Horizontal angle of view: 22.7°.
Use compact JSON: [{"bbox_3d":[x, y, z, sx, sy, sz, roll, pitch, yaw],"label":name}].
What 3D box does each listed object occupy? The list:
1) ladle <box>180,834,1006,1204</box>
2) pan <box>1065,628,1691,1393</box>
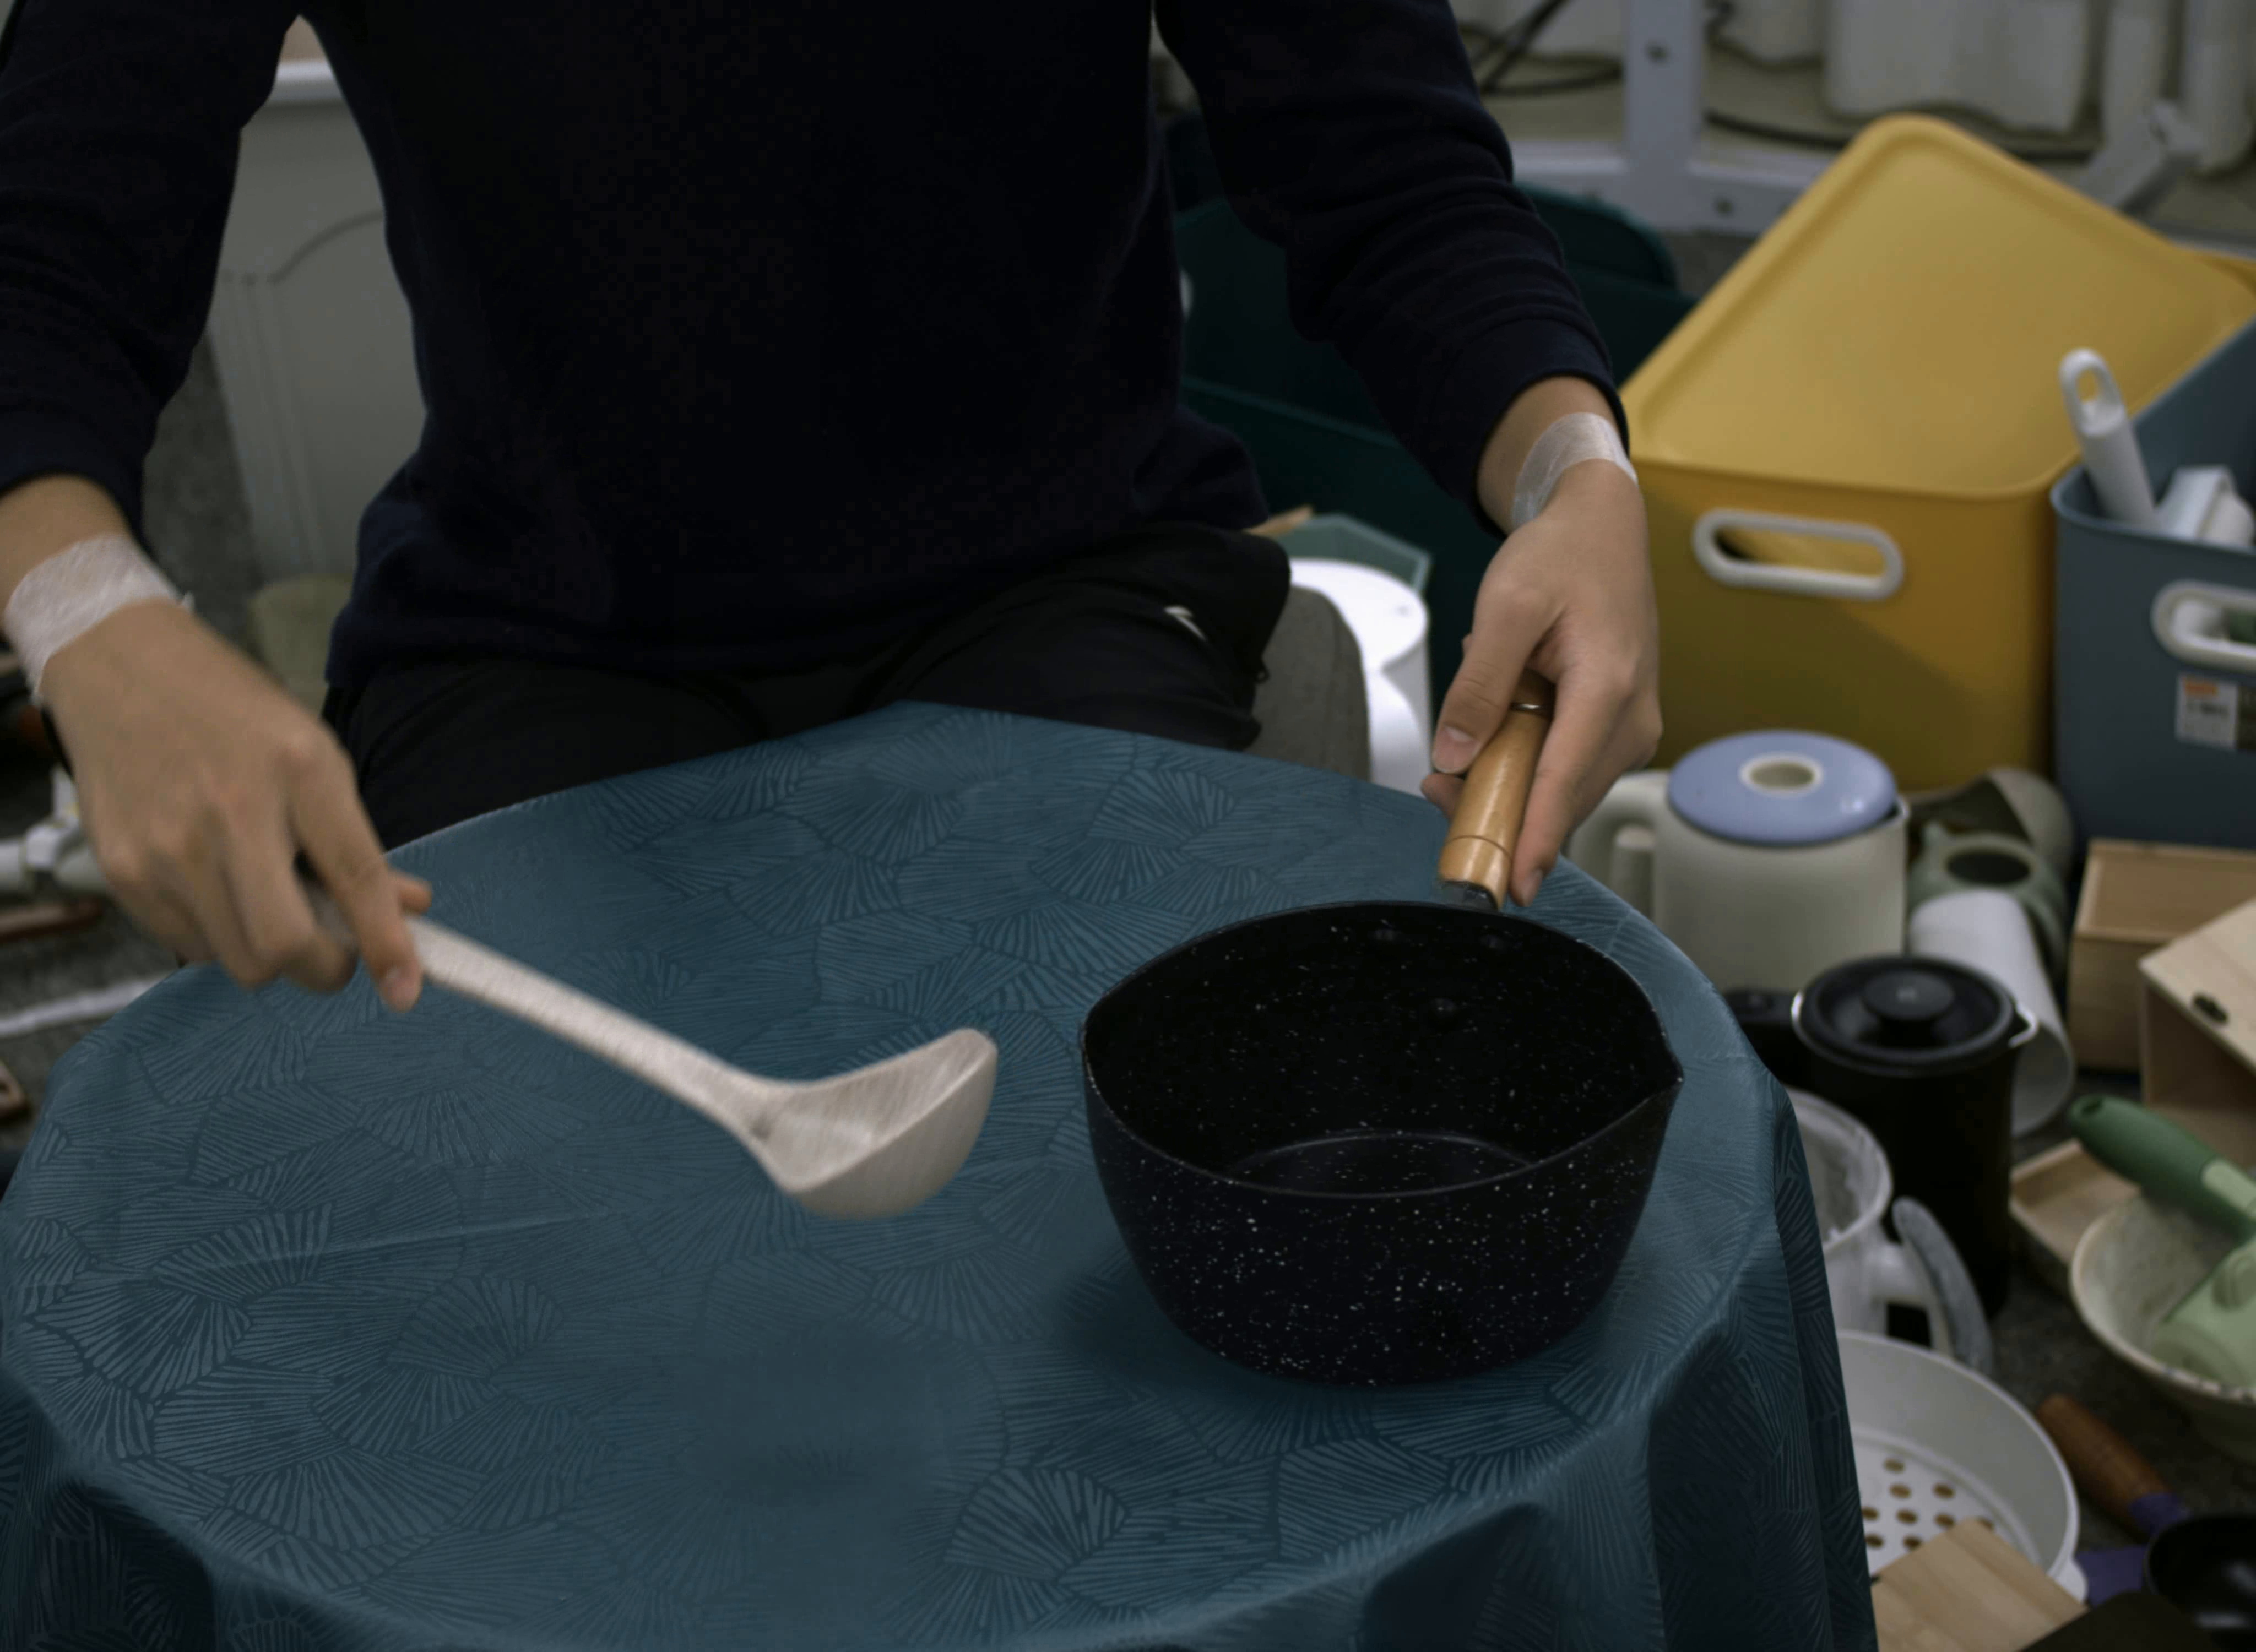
[{"bbox_3d":[-0.168,0.037,1.724,0.274,0.068,0.091,25,36,12],"label":"ladle"},{"bbox_3d":[0.098,0.057,1.860,0.206,0.107,0.349,4,29,15],"label":"pan"}]
